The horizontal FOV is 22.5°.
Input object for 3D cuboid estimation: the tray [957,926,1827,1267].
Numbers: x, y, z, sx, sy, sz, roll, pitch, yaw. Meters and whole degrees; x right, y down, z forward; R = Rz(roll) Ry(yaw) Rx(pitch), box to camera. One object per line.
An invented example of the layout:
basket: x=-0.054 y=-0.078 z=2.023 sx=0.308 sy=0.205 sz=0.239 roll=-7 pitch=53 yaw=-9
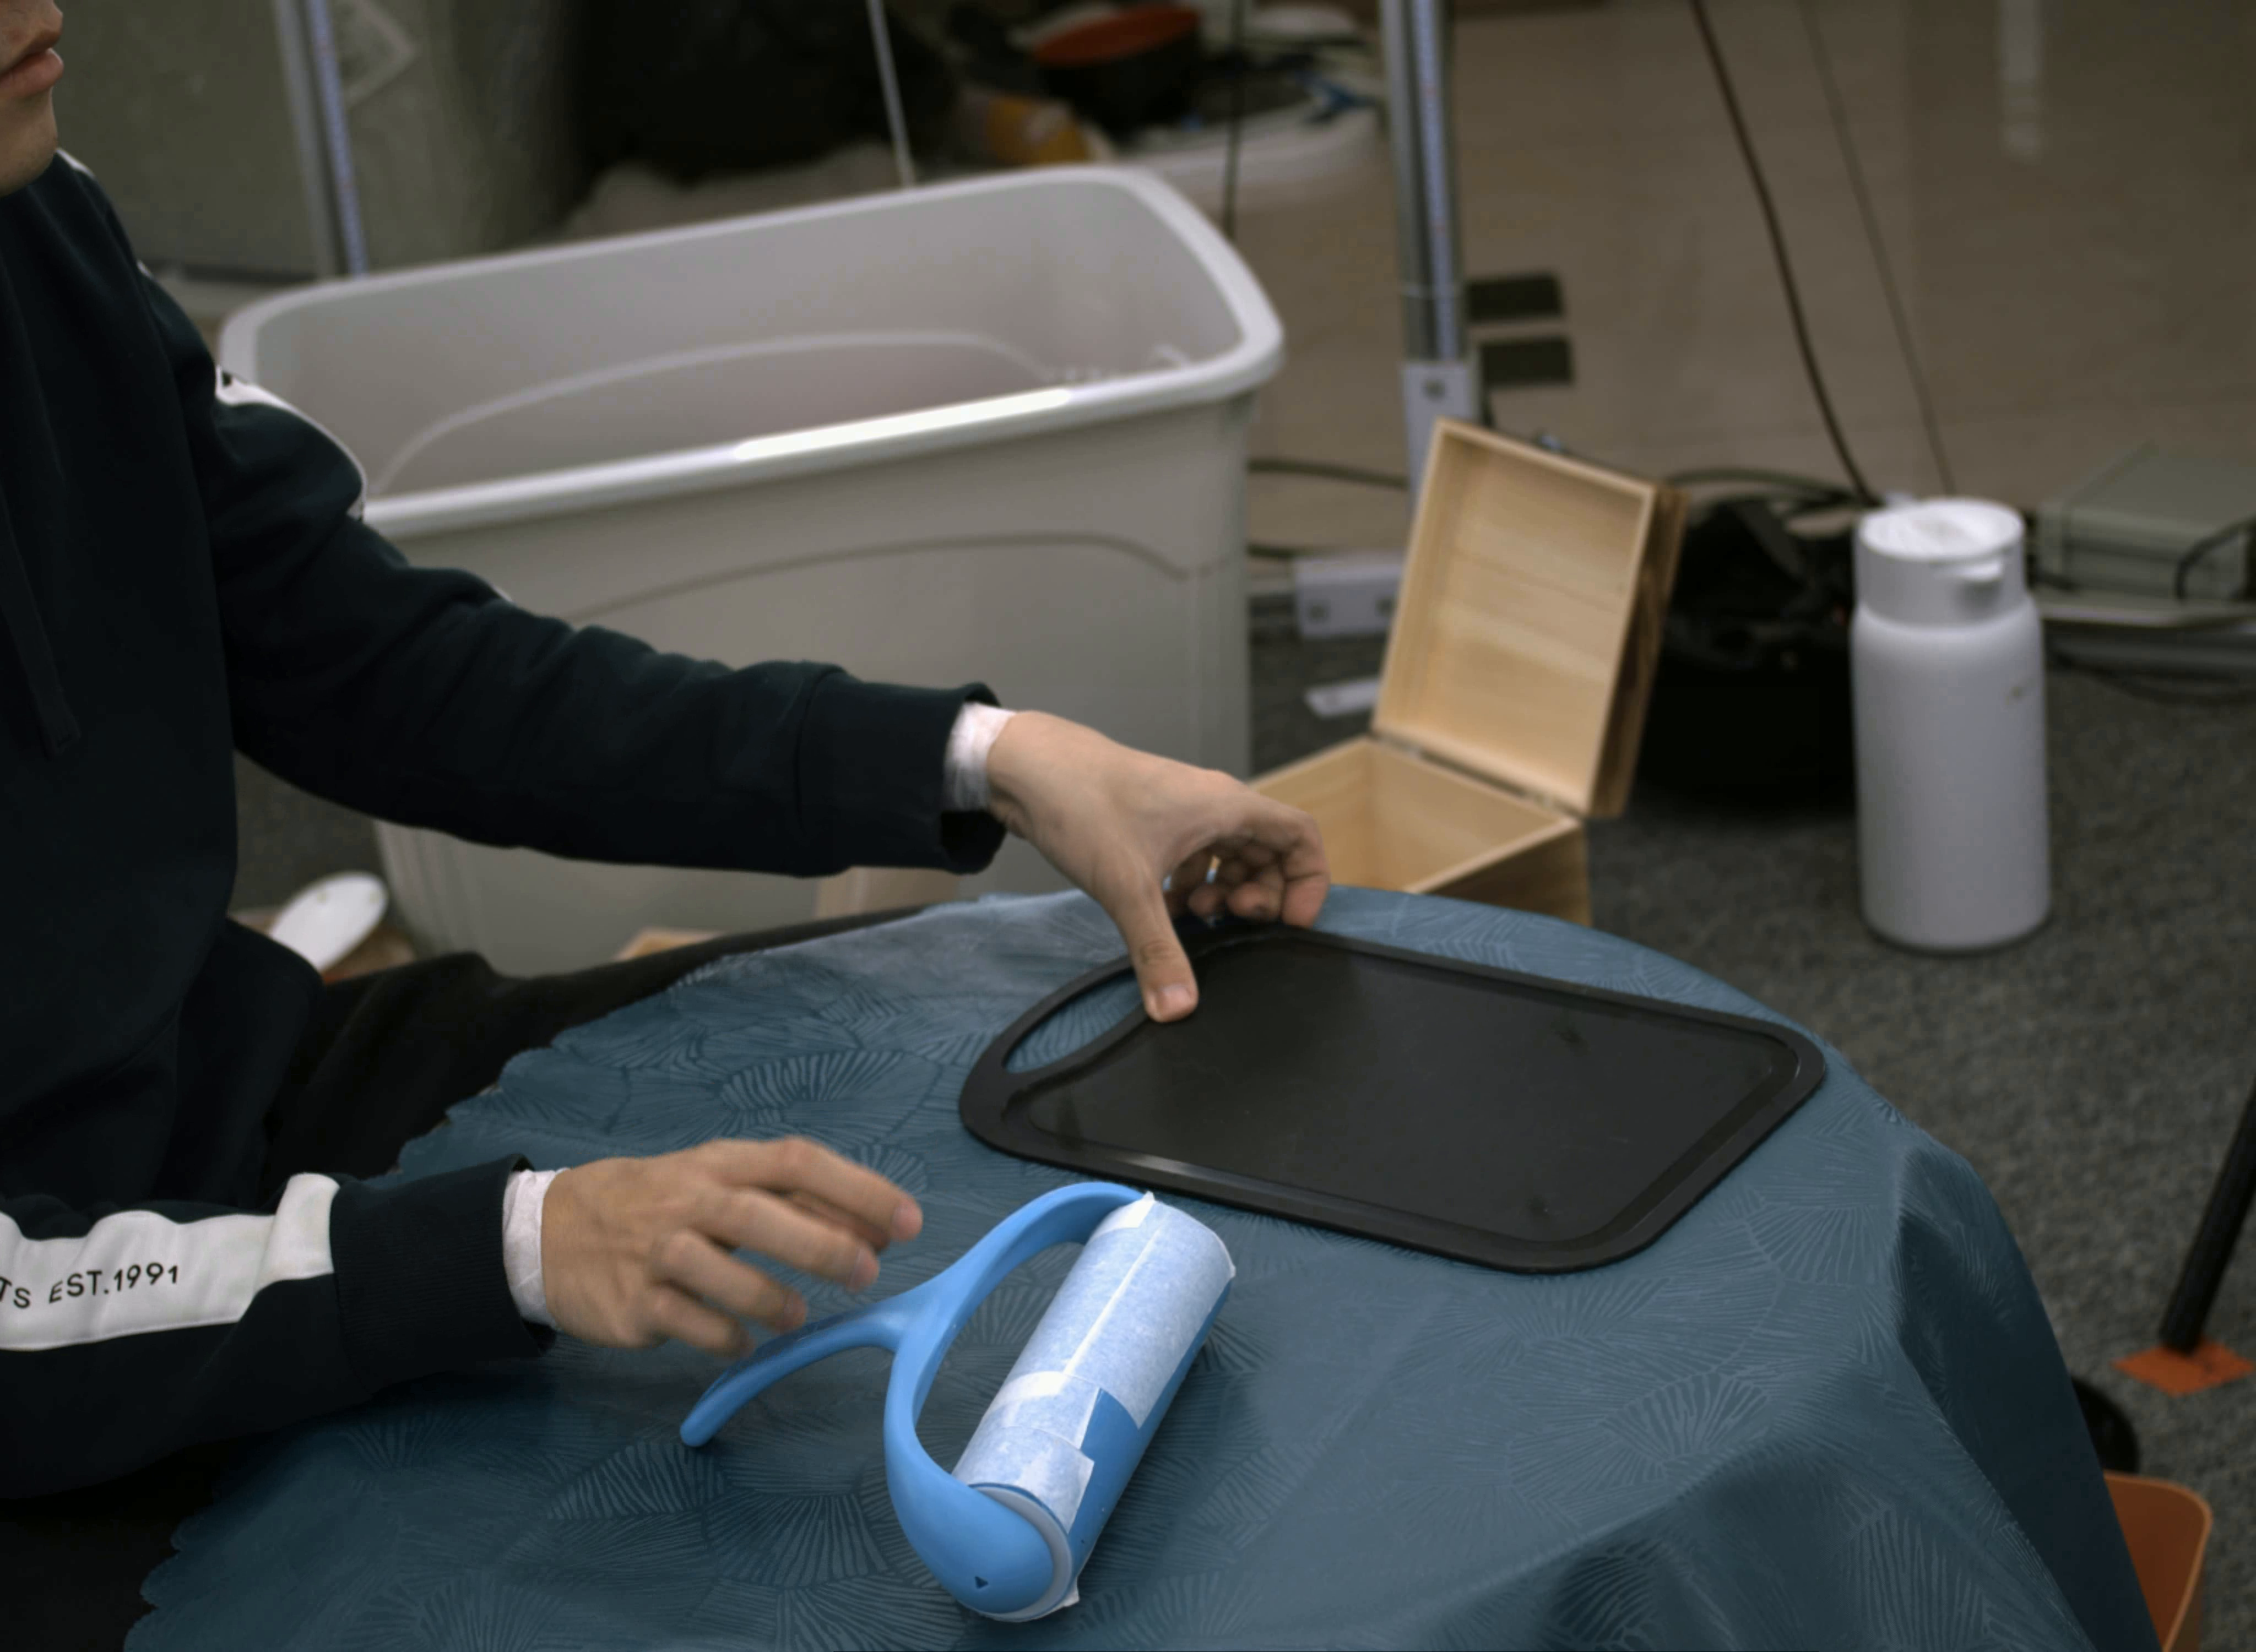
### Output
tray: x=0.093 y=0.099 z=2.199 sx=0.323 sy=0.010 sz=0.209 roll=11 pitch=30 yaw=33

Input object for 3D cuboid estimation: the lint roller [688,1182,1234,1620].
lint roller: x=-0.072 y=0.196 z=1.972 sx=0.180 sy=0.069 sz=0.225 roll=2 pitch=28 yaw=15
